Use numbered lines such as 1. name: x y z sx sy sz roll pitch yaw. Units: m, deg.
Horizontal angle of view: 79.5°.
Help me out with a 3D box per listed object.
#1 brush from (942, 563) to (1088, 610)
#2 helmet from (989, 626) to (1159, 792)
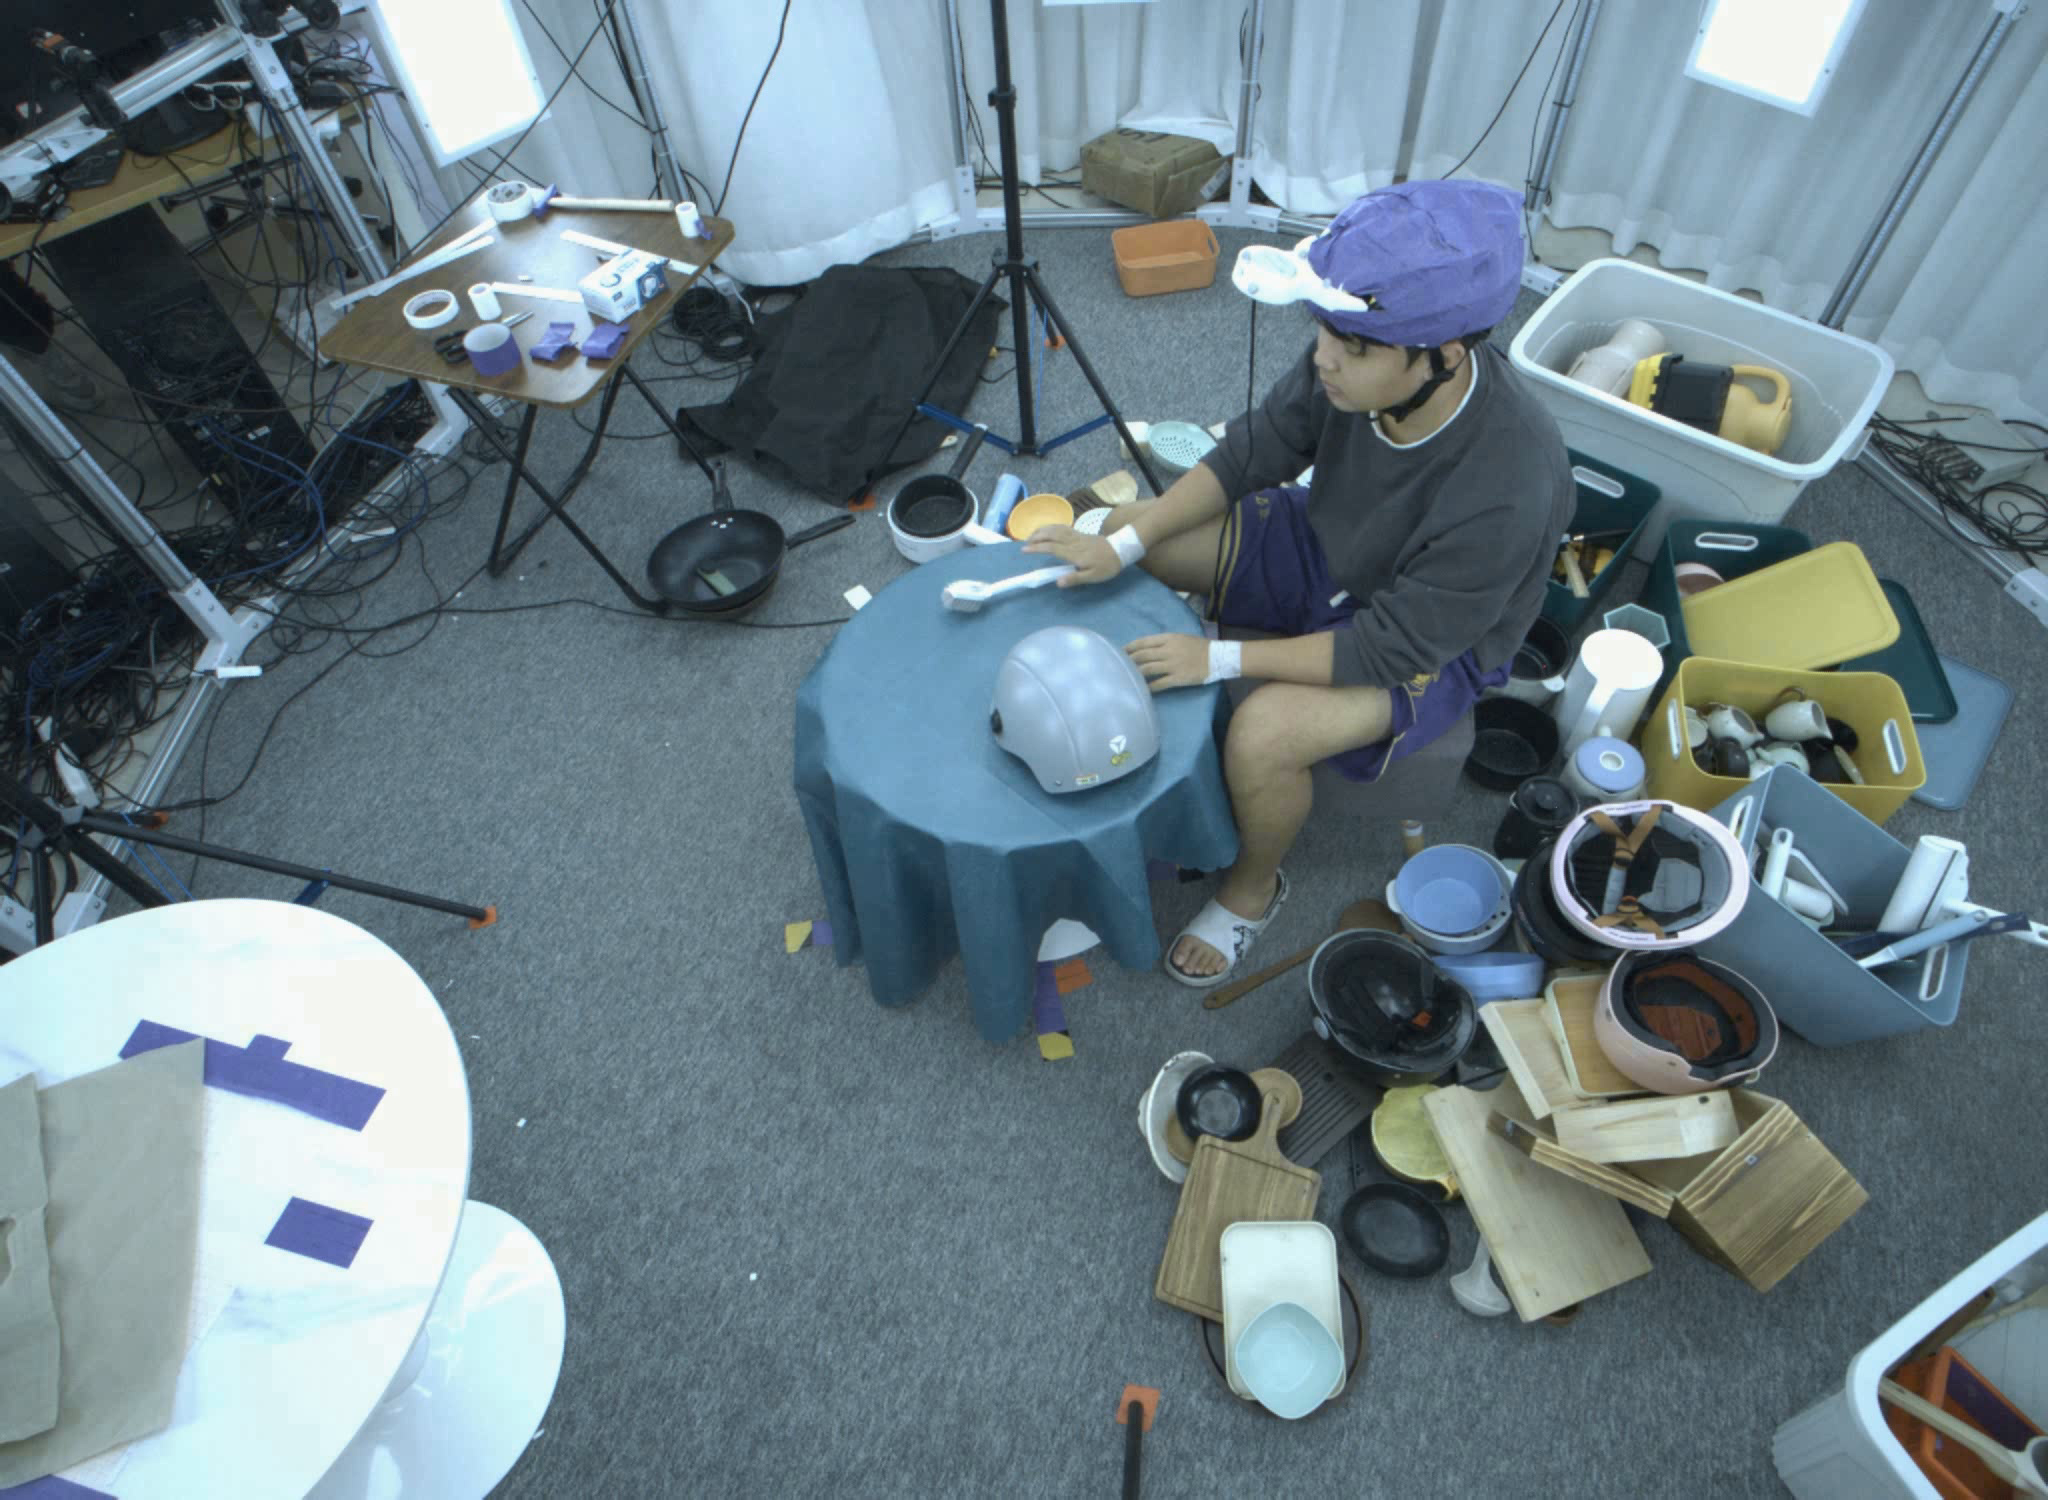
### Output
1. brush: -0.013 -0.261 1.962 0.247 0.050 0.034 -11 53 -22
2. helmet: 0.067 -0.083 1.746 0.234 0.170 0.271 -26 55 -18
